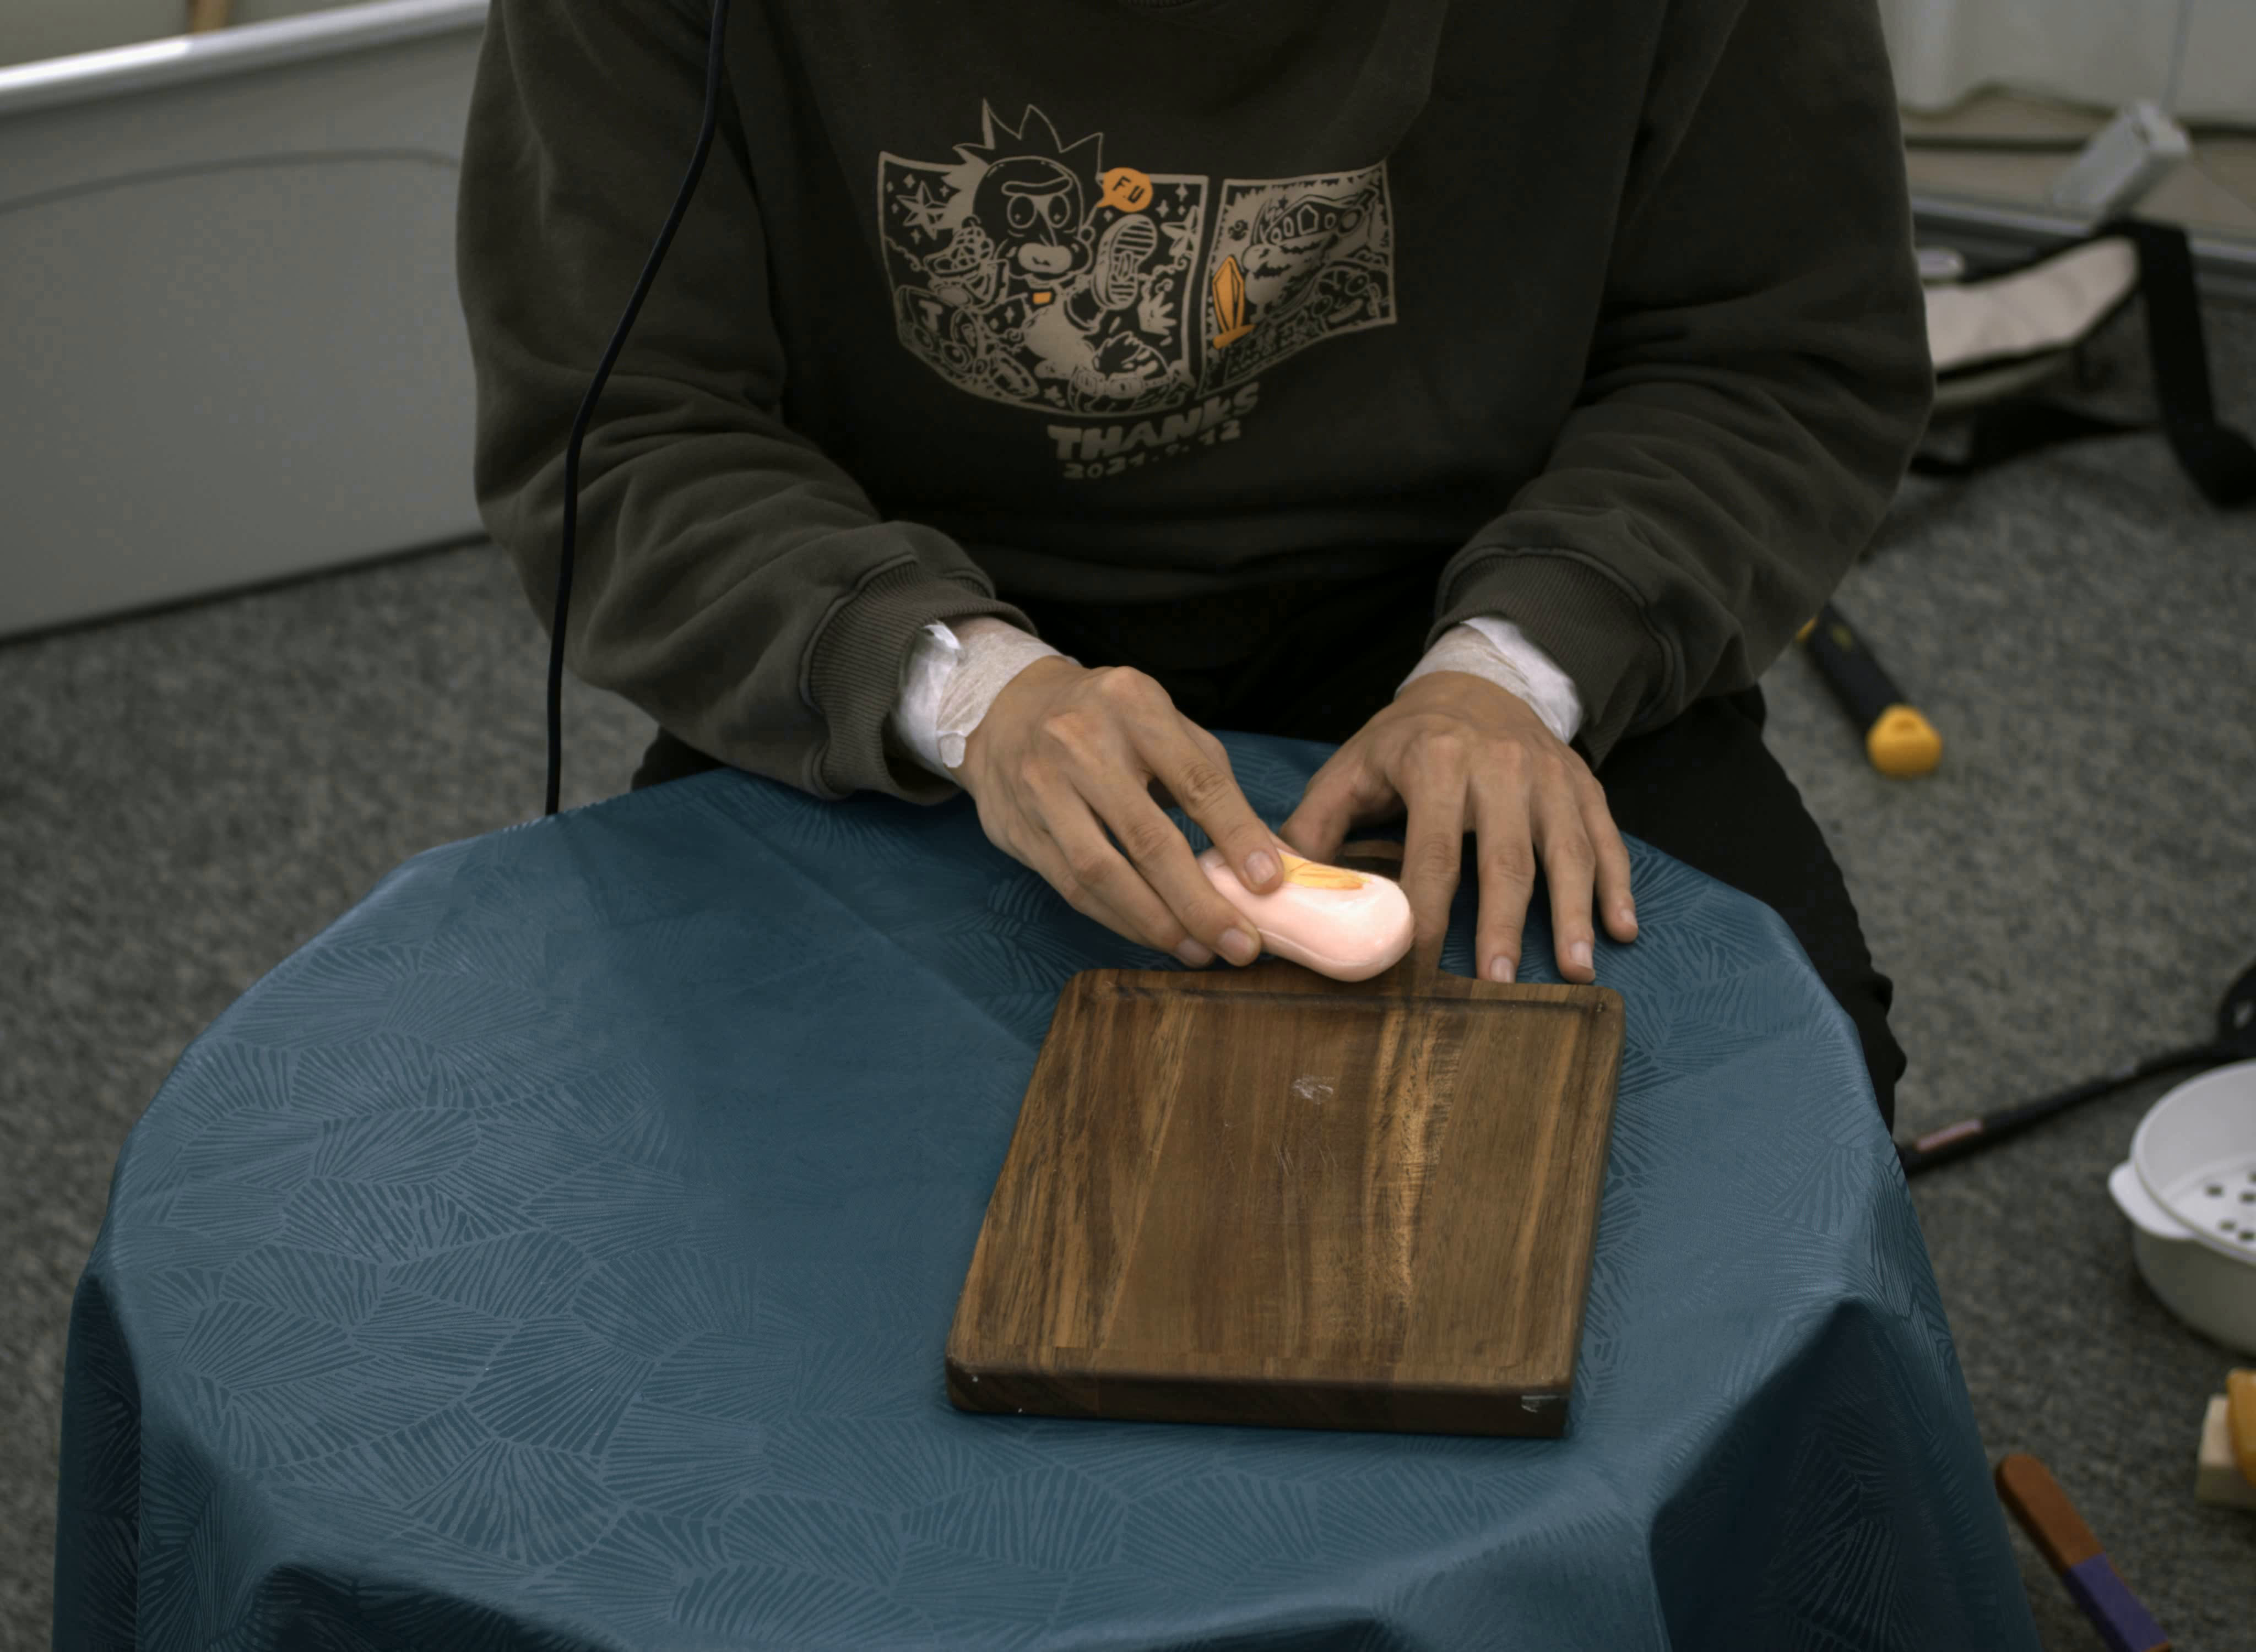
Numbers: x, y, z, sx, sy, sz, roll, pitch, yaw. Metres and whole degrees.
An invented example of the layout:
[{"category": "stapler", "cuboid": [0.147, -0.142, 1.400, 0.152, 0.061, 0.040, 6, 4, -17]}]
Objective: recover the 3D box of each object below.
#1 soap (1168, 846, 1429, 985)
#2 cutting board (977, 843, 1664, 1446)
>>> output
[{"category": "soap", "cuboid": [0.059, 0.031, 1.958, 0.094, 0.030, 0.051, 15, 32, 35]}, {"category": "cutting board", "cuboid": [0.076, 0.097, 1.877, 0.200, 0.023, 0.358, 2, 28, 10]}]
